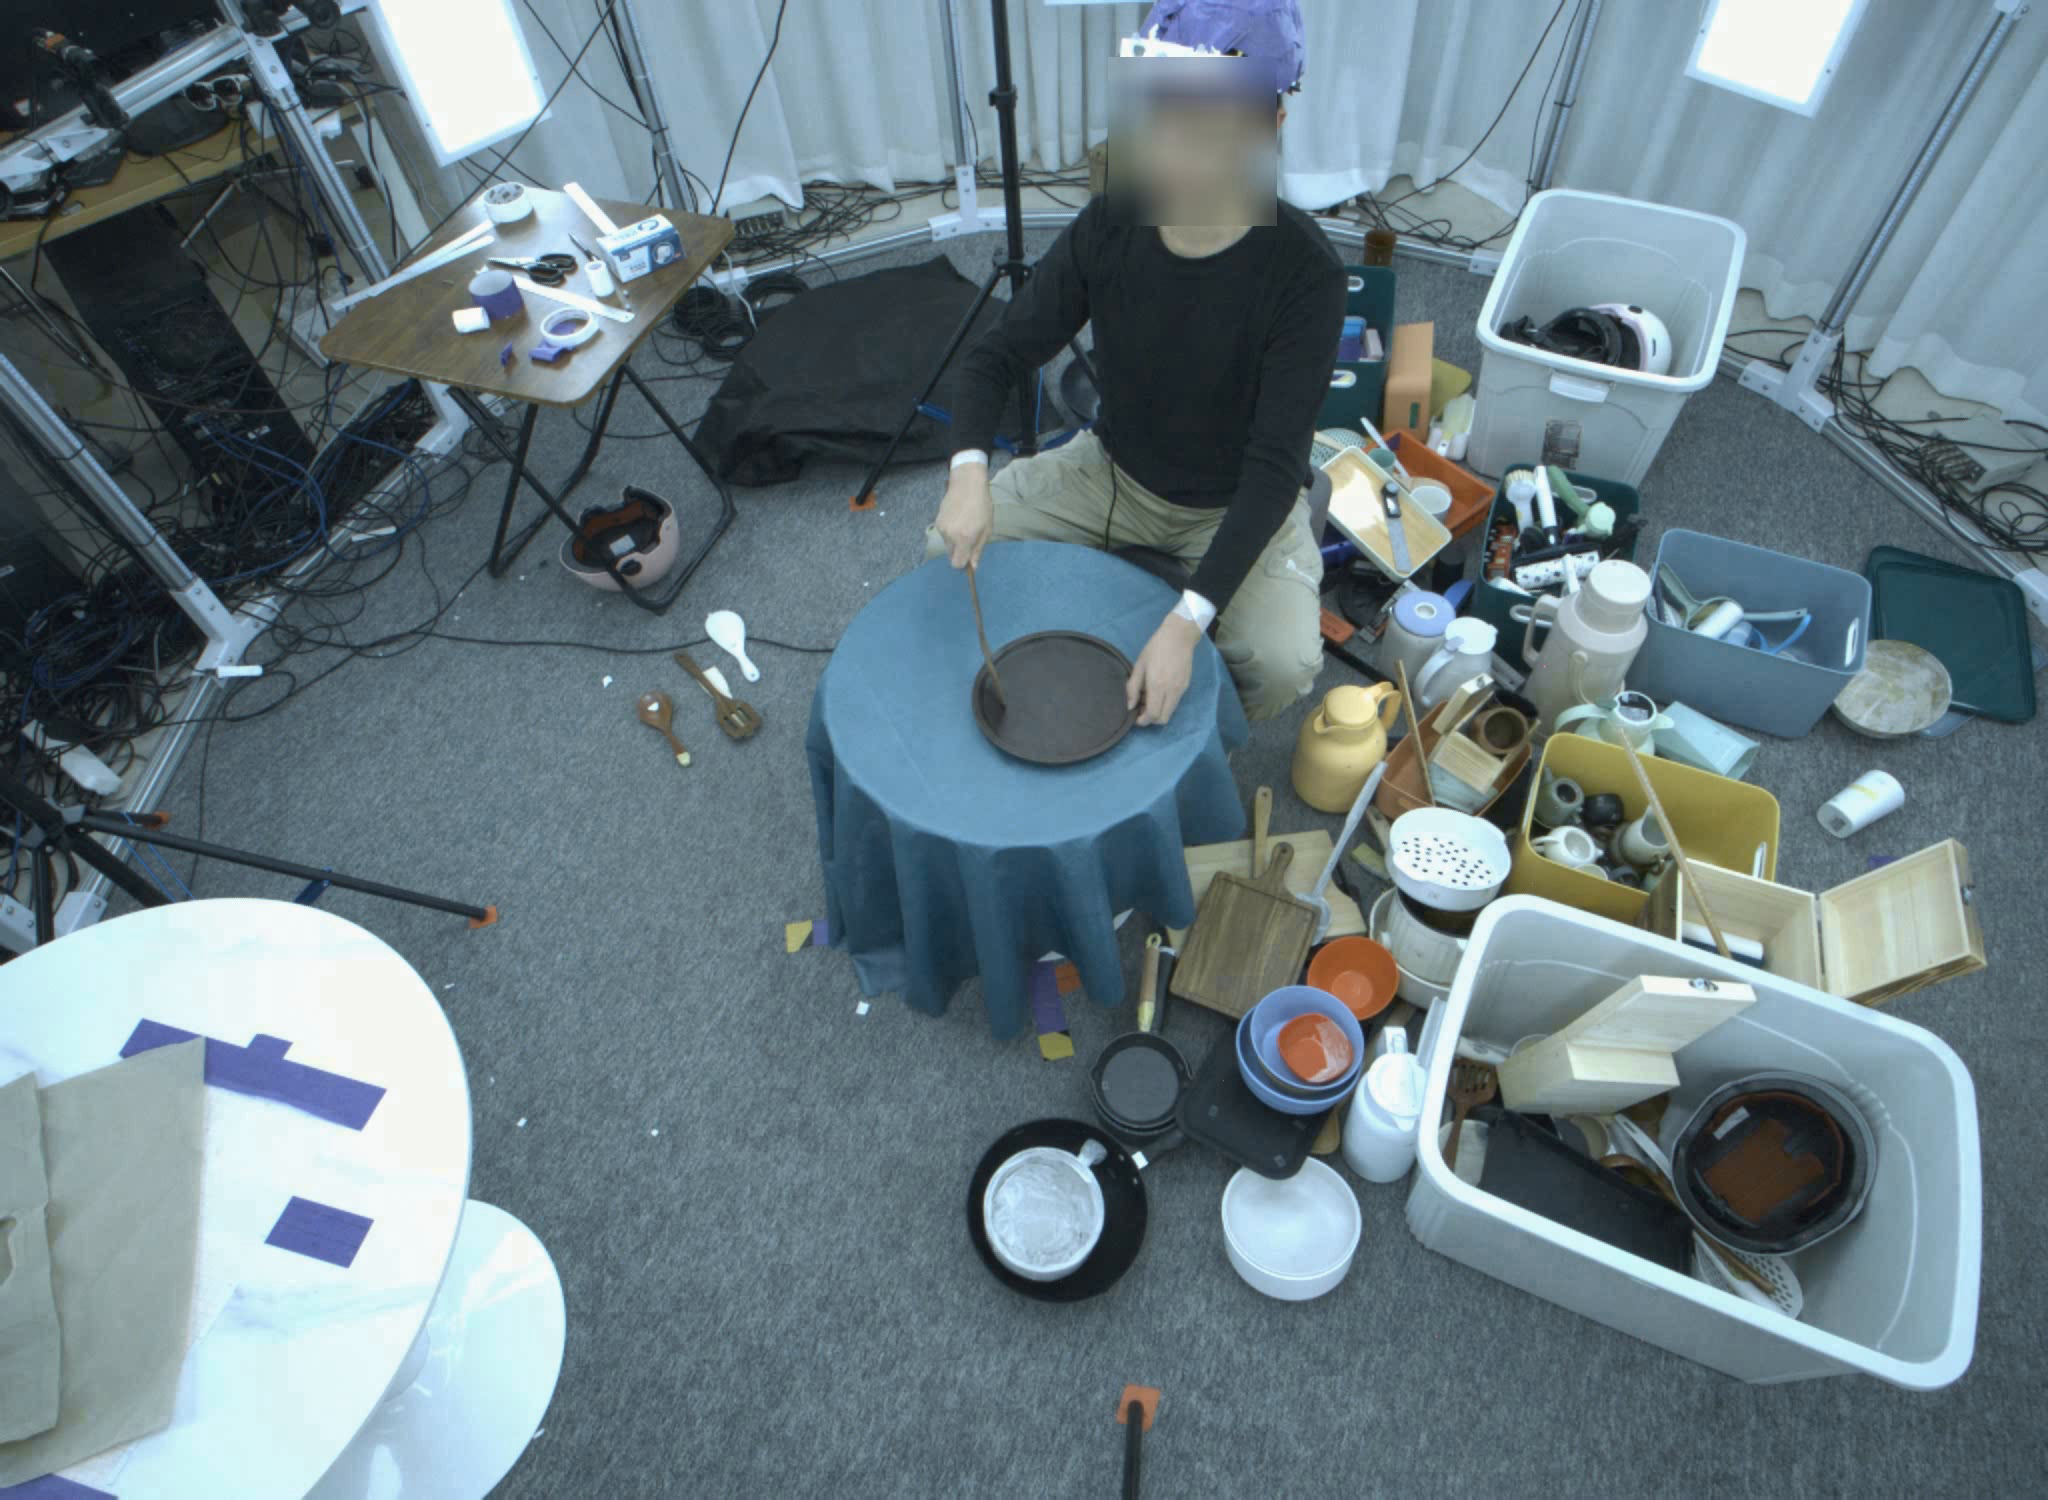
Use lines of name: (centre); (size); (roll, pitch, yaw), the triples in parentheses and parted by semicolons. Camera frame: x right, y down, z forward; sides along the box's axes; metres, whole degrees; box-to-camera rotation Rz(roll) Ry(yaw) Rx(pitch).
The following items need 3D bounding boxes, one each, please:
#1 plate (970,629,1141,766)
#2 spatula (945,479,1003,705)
plate: (0.047, -0.079, 1.827); (0.254, 0.029, 0.252); (-1, 54, 3)
spatula: (-0.077, -0.247, 1.835); (0.016, 0.097, 0.382); (-13, 71, 0)
